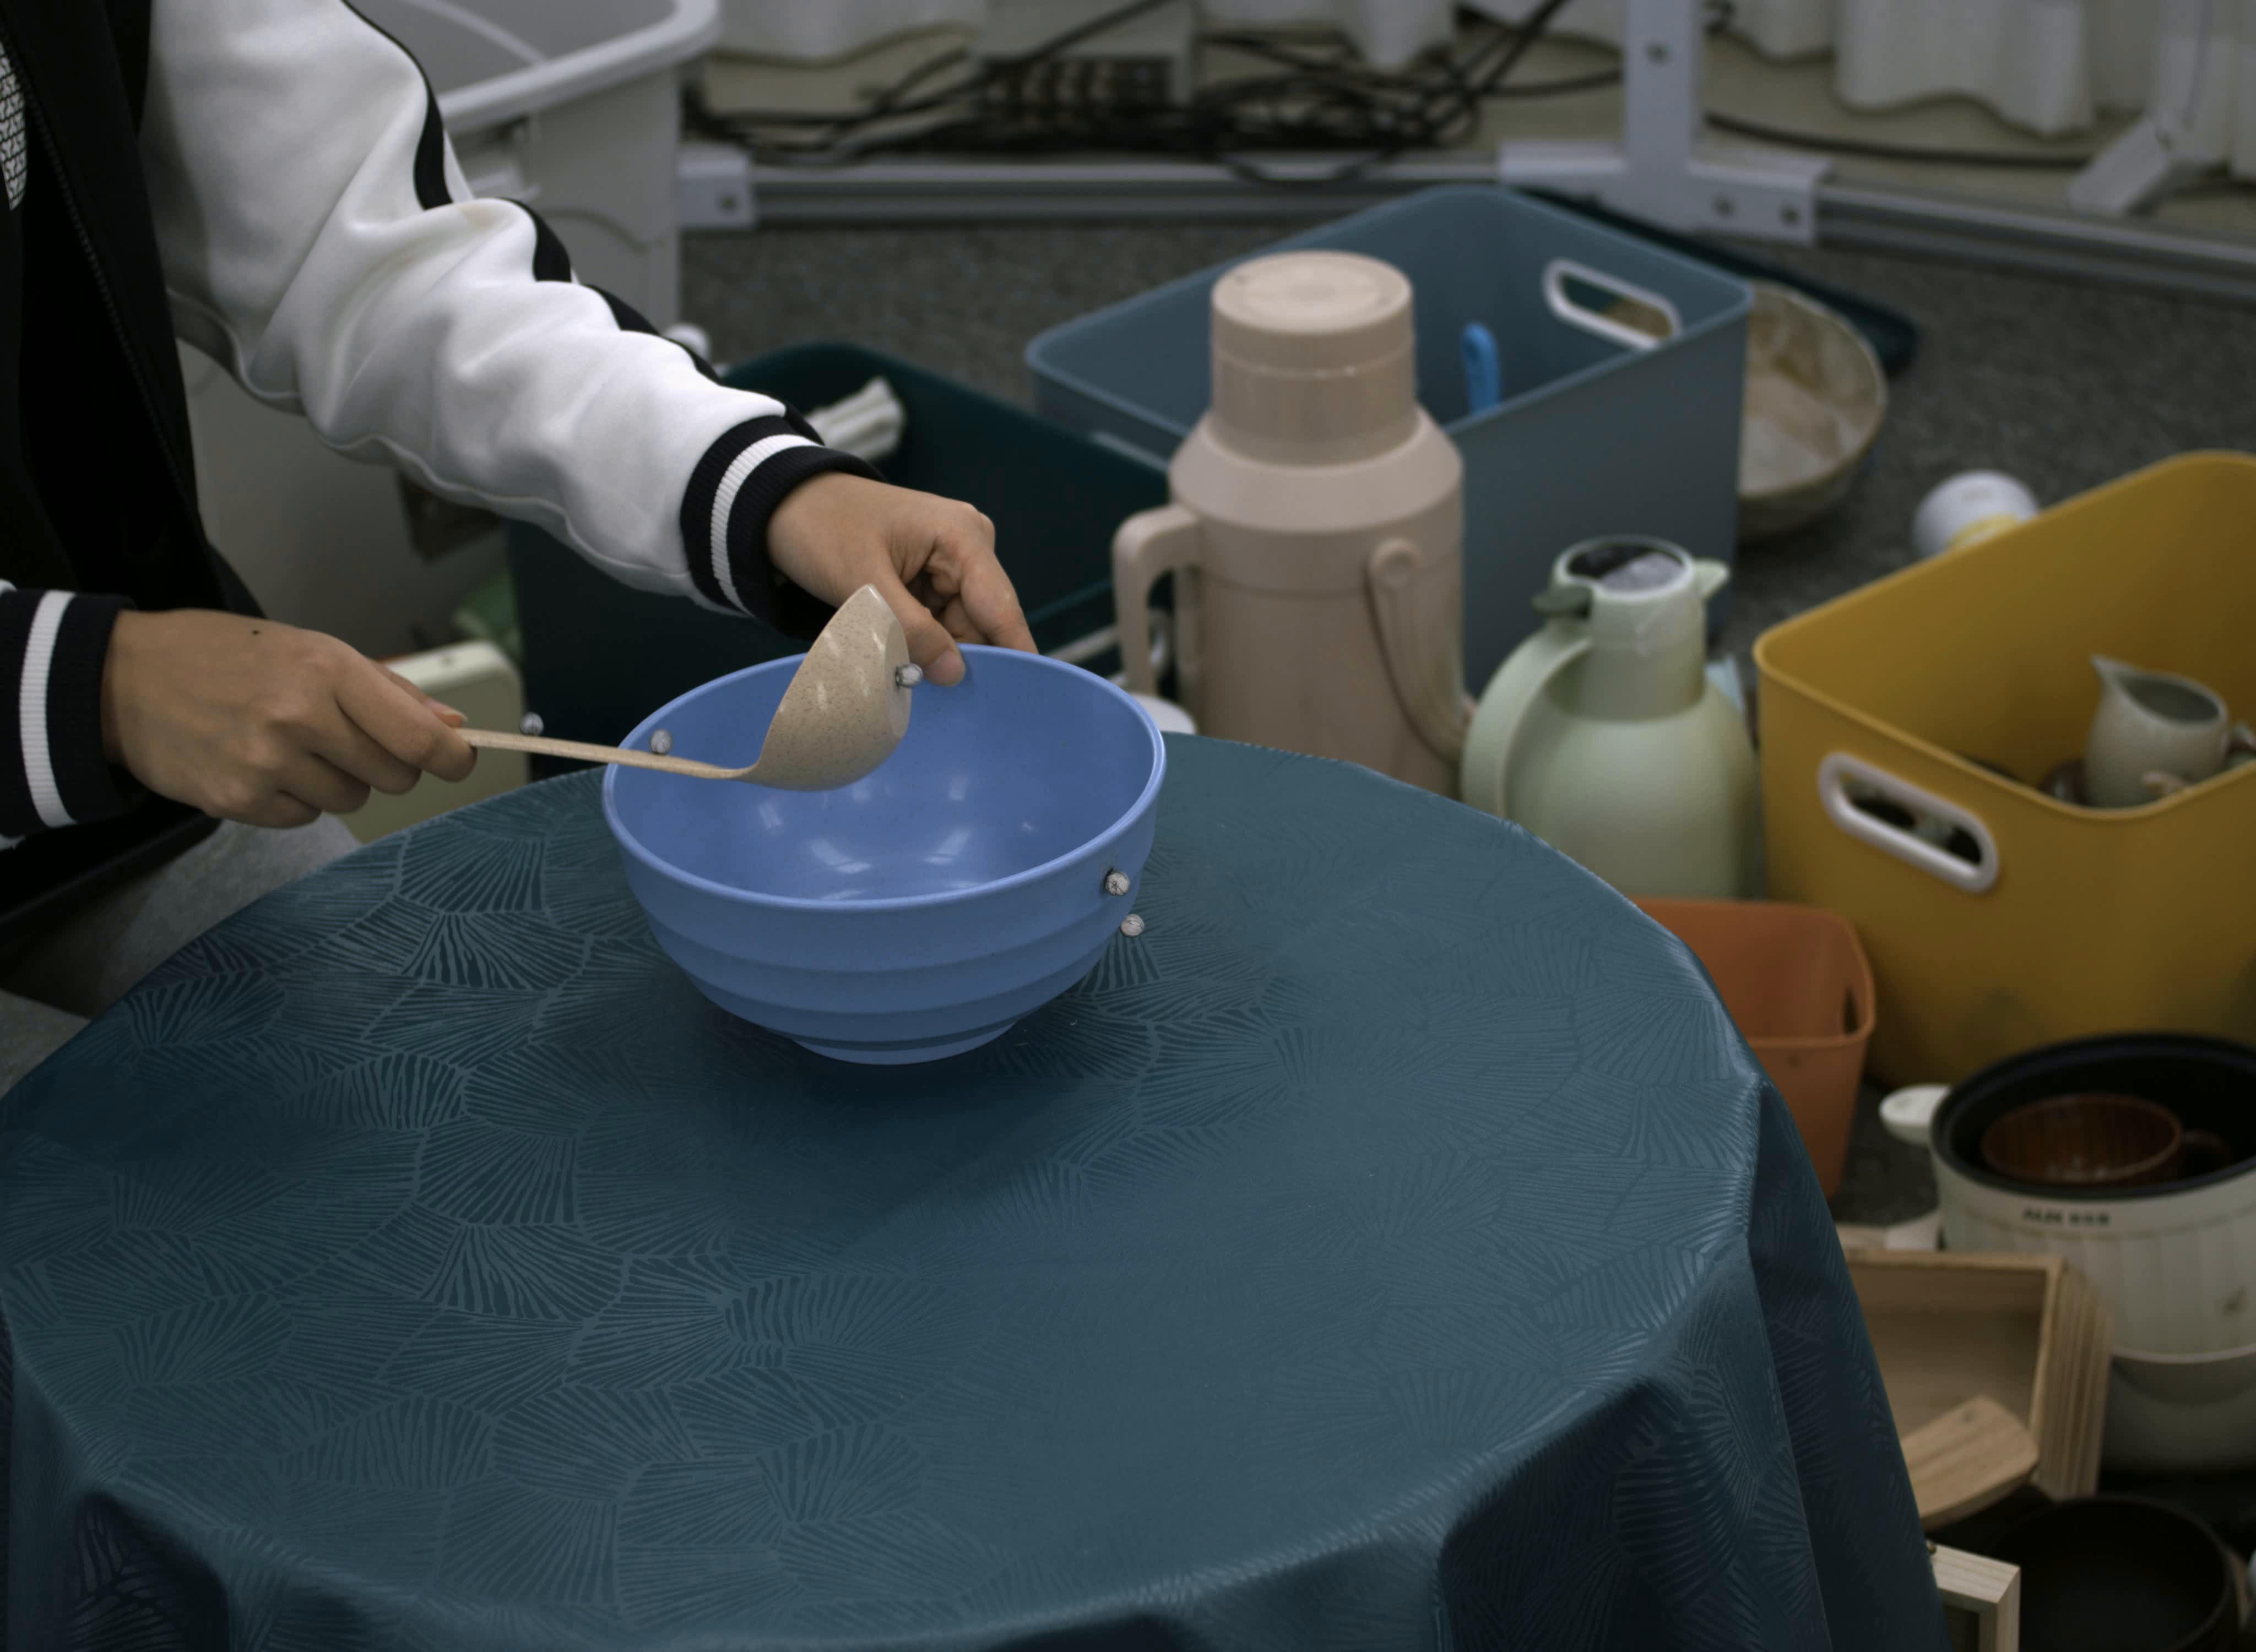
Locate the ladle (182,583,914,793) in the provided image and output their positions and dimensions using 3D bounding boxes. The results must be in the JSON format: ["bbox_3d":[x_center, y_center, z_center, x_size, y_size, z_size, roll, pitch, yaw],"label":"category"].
[{"bbox_3d":[-0.199,-0.052,1.923,0.253,0.073,0.072,3,-2,9],"label":"ladle"}]

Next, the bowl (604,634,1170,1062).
[{"bbox_3d":[-0.083,0.019,1.963,0.195,0.094,0.199,0,28,0],"label":"bowl"}]
